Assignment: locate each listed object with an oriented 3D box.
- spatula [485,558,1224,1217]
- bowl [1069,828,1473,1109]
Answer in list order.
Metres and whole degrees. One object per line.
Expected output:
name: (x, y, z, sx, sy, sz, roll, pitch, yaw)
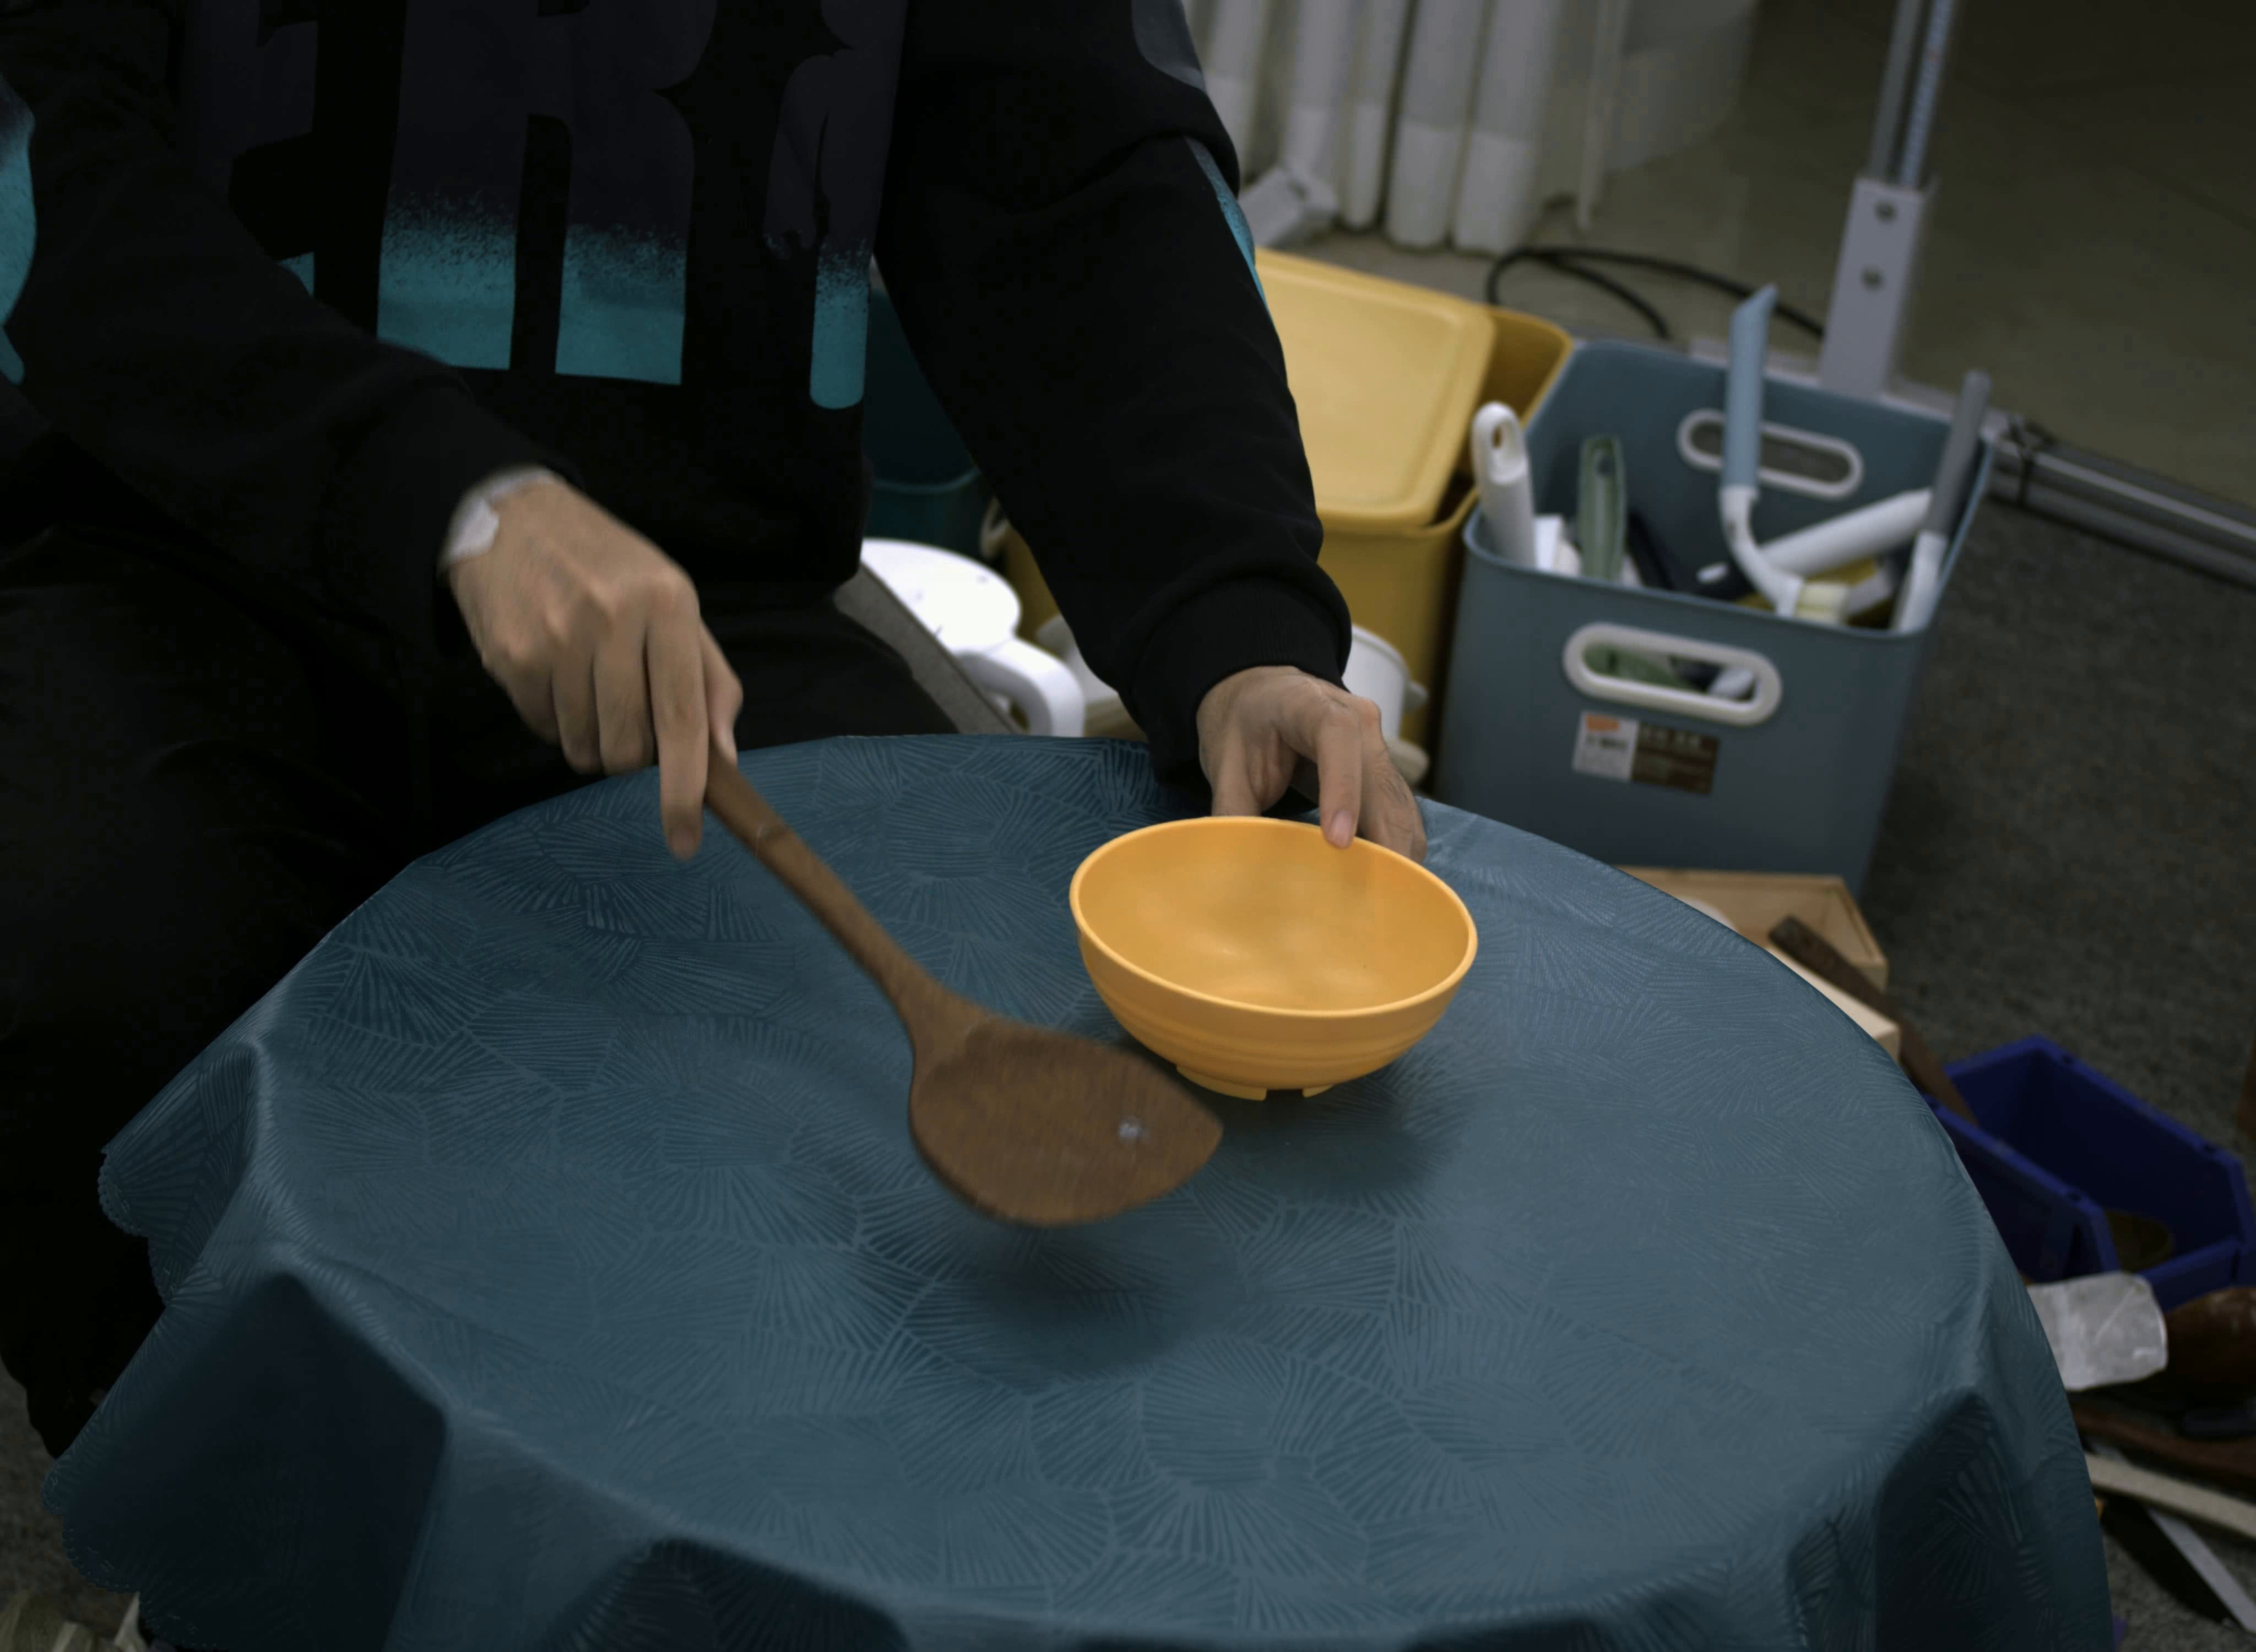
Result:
spatula: (-0.112, 0.011, 1.818, 0.095, 0.016, 0.389, -20, 47, -33)
bowl: (0.046, 0.059, 1.880, 0.145, 0.060, 0.146, 7, 24, -4)
